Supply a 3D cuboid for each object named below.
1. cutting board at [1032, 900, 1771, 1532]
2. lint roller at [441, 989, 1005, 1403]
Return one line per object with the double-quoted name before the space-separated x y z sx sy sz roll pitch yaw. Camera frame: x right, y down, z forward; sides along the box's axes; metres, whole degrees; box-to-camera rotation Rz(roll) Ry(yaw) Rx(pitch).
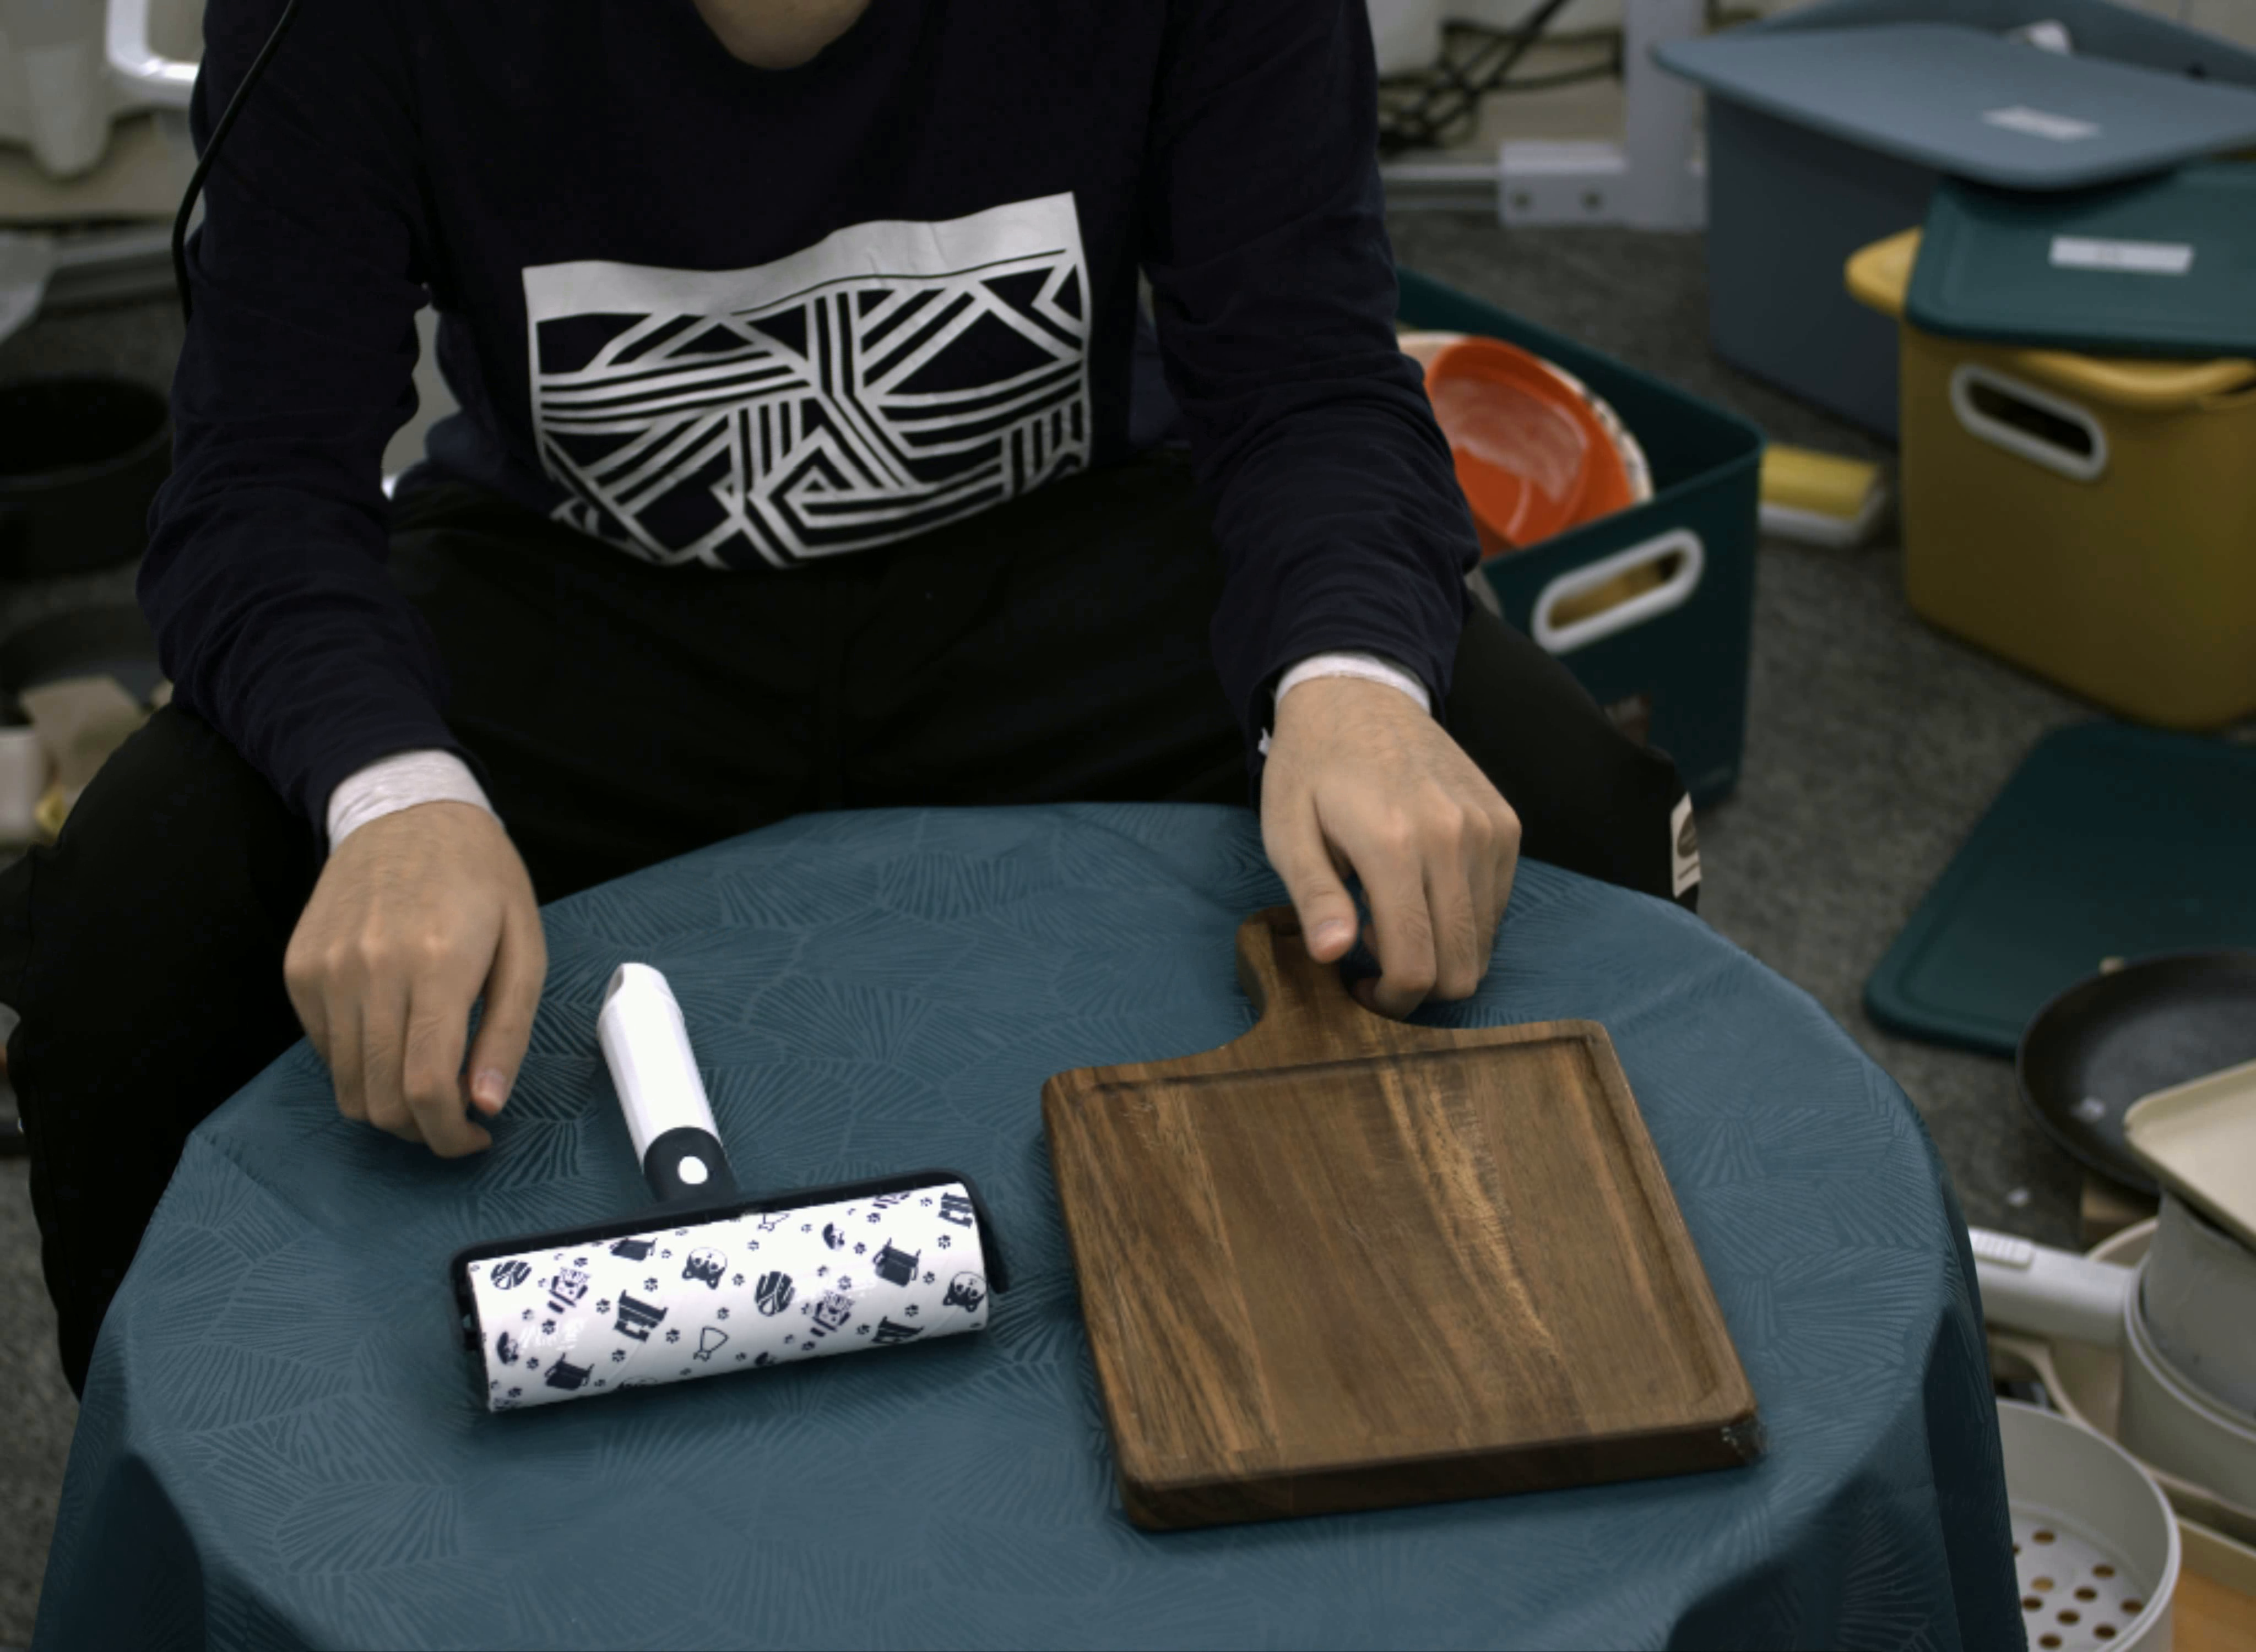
"cutting board" 0.075 0.115 1.843 0.200 0.023 0.357 -5 28 -6
"lint roller" -0.151 0.107 1.861 0.176 0.050 0.249 -10 25 -11
